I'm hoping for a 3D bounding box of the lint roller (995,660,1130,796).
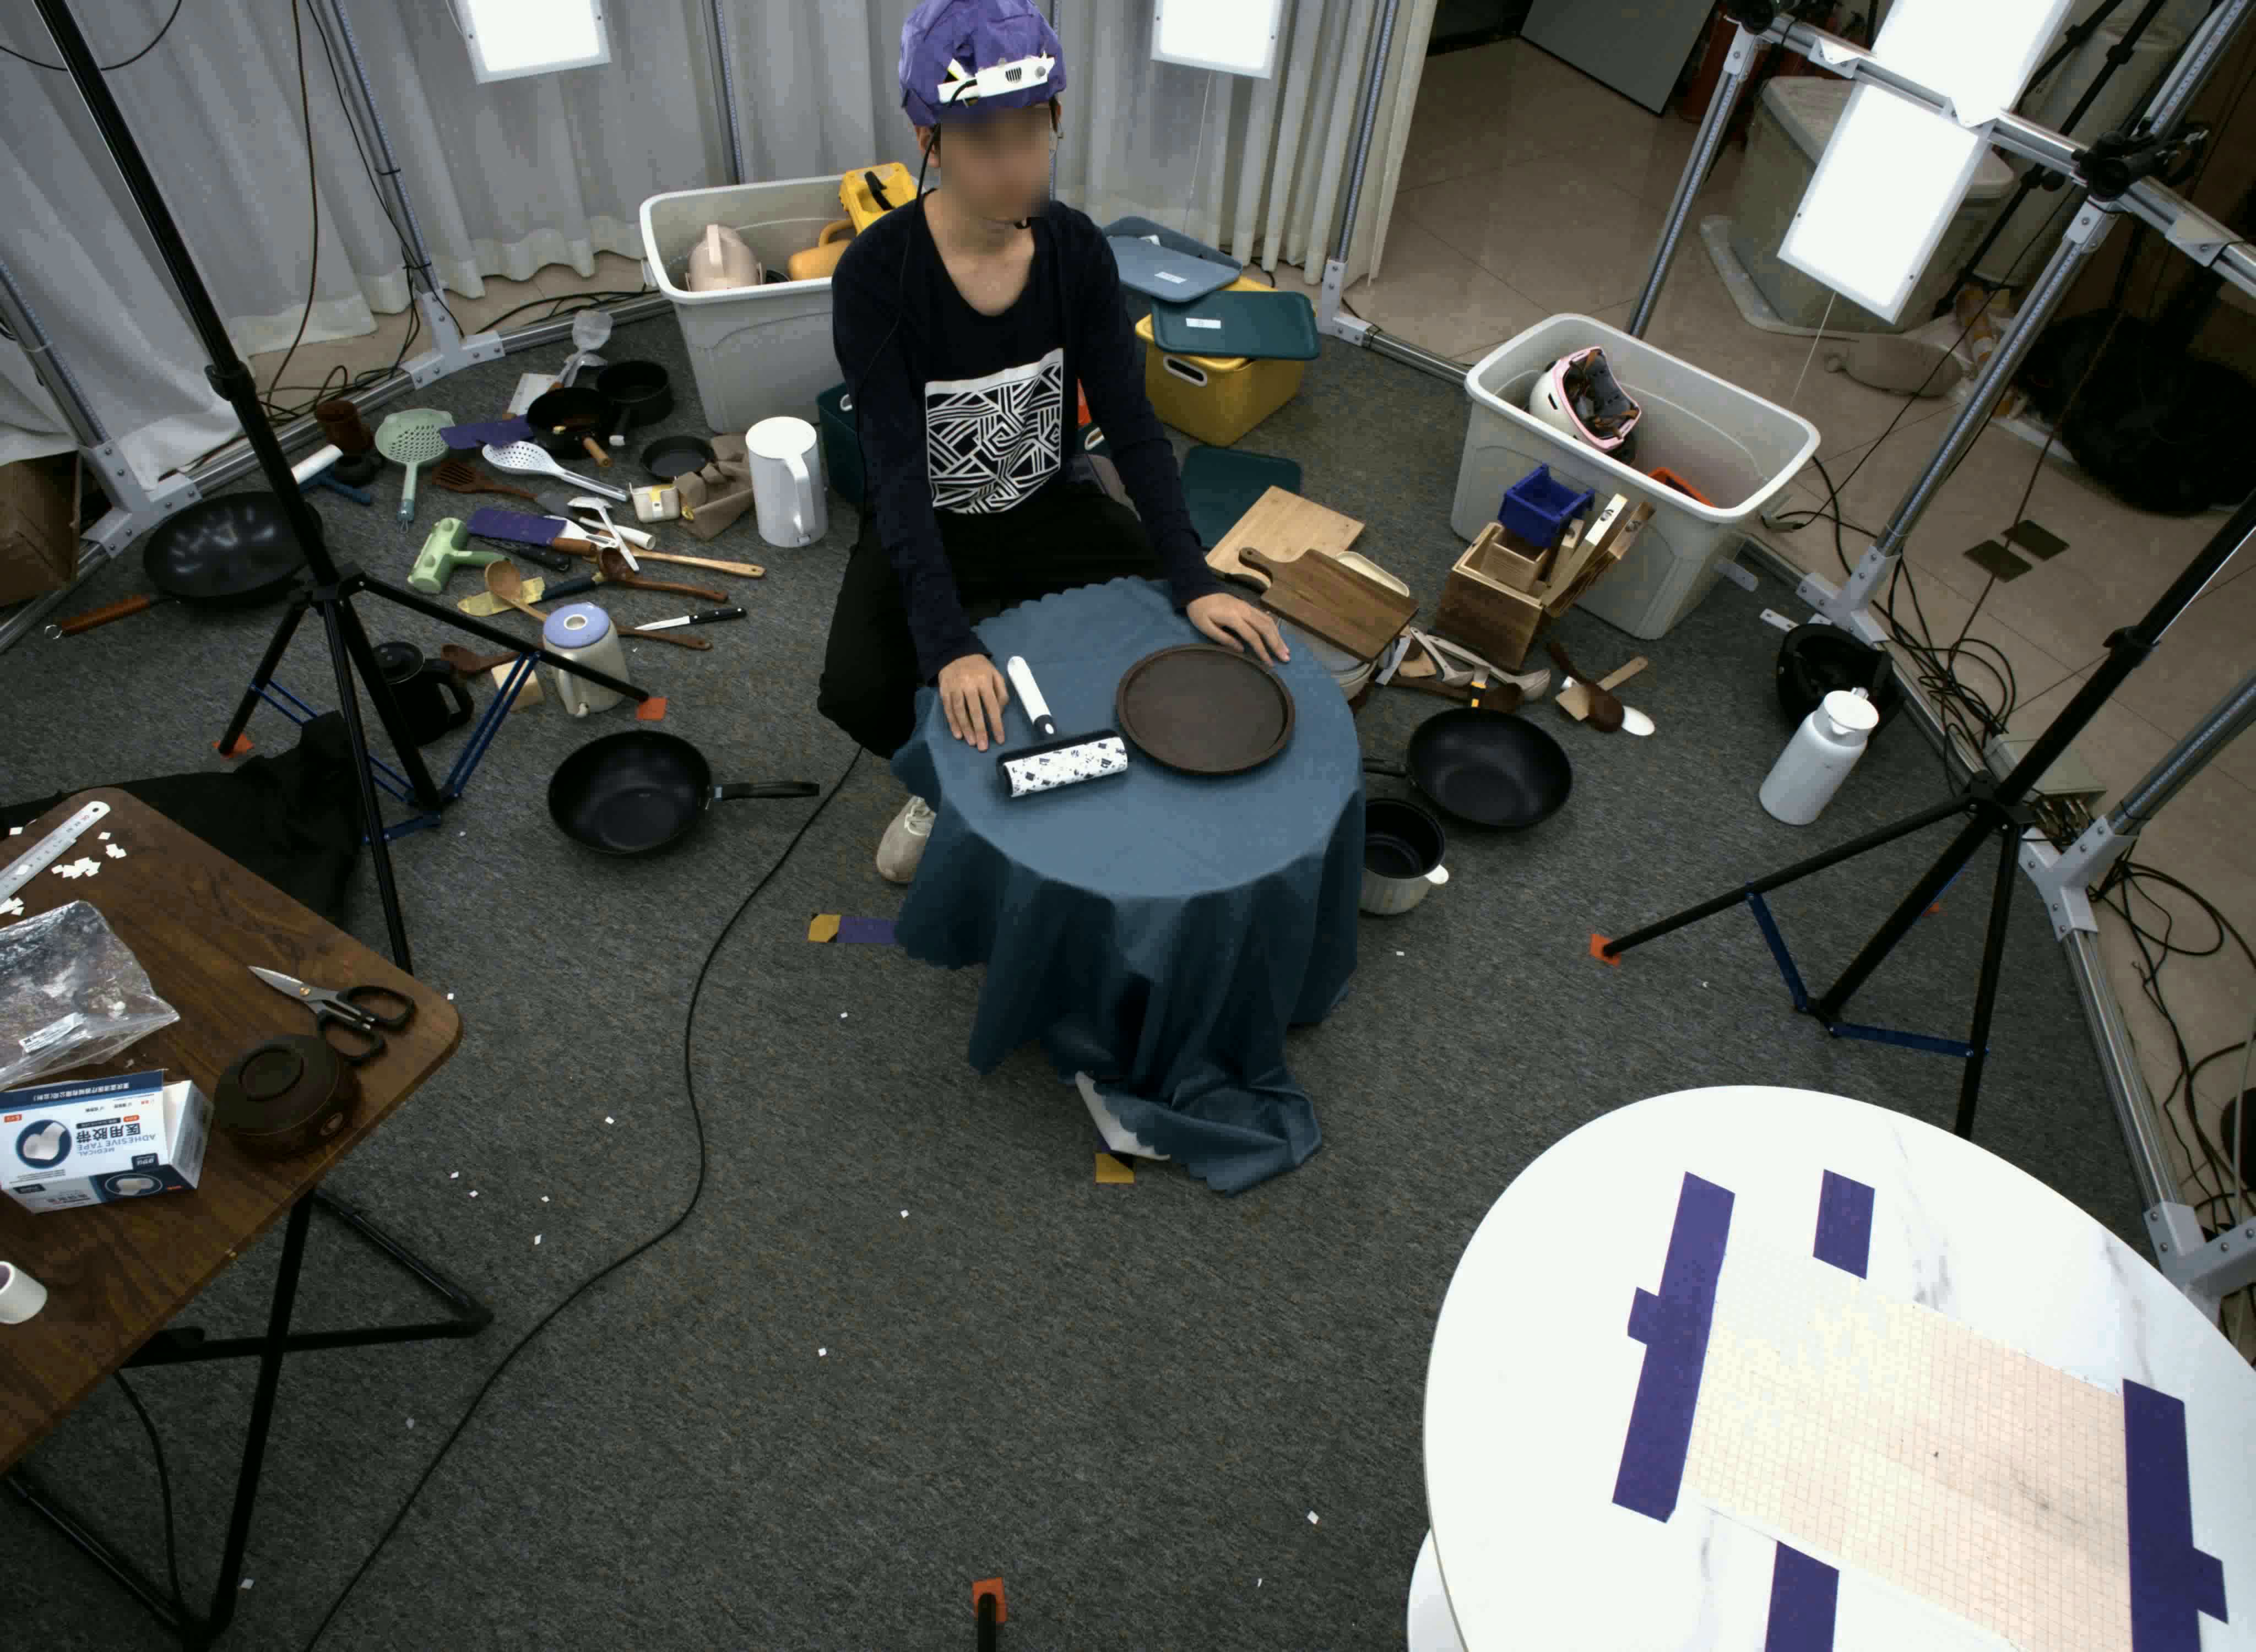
[{"bbox_3d":[-0.122,-0.152,1.764,0.176,0.049,0.253,-15,50,-15],"label":"lint roller"}]

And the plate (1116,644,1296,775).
[{"bbox_3d":[0.109,-0.166,1.804,0.254,0.028,0.261,1,47,-2],"label":"plate"}]
